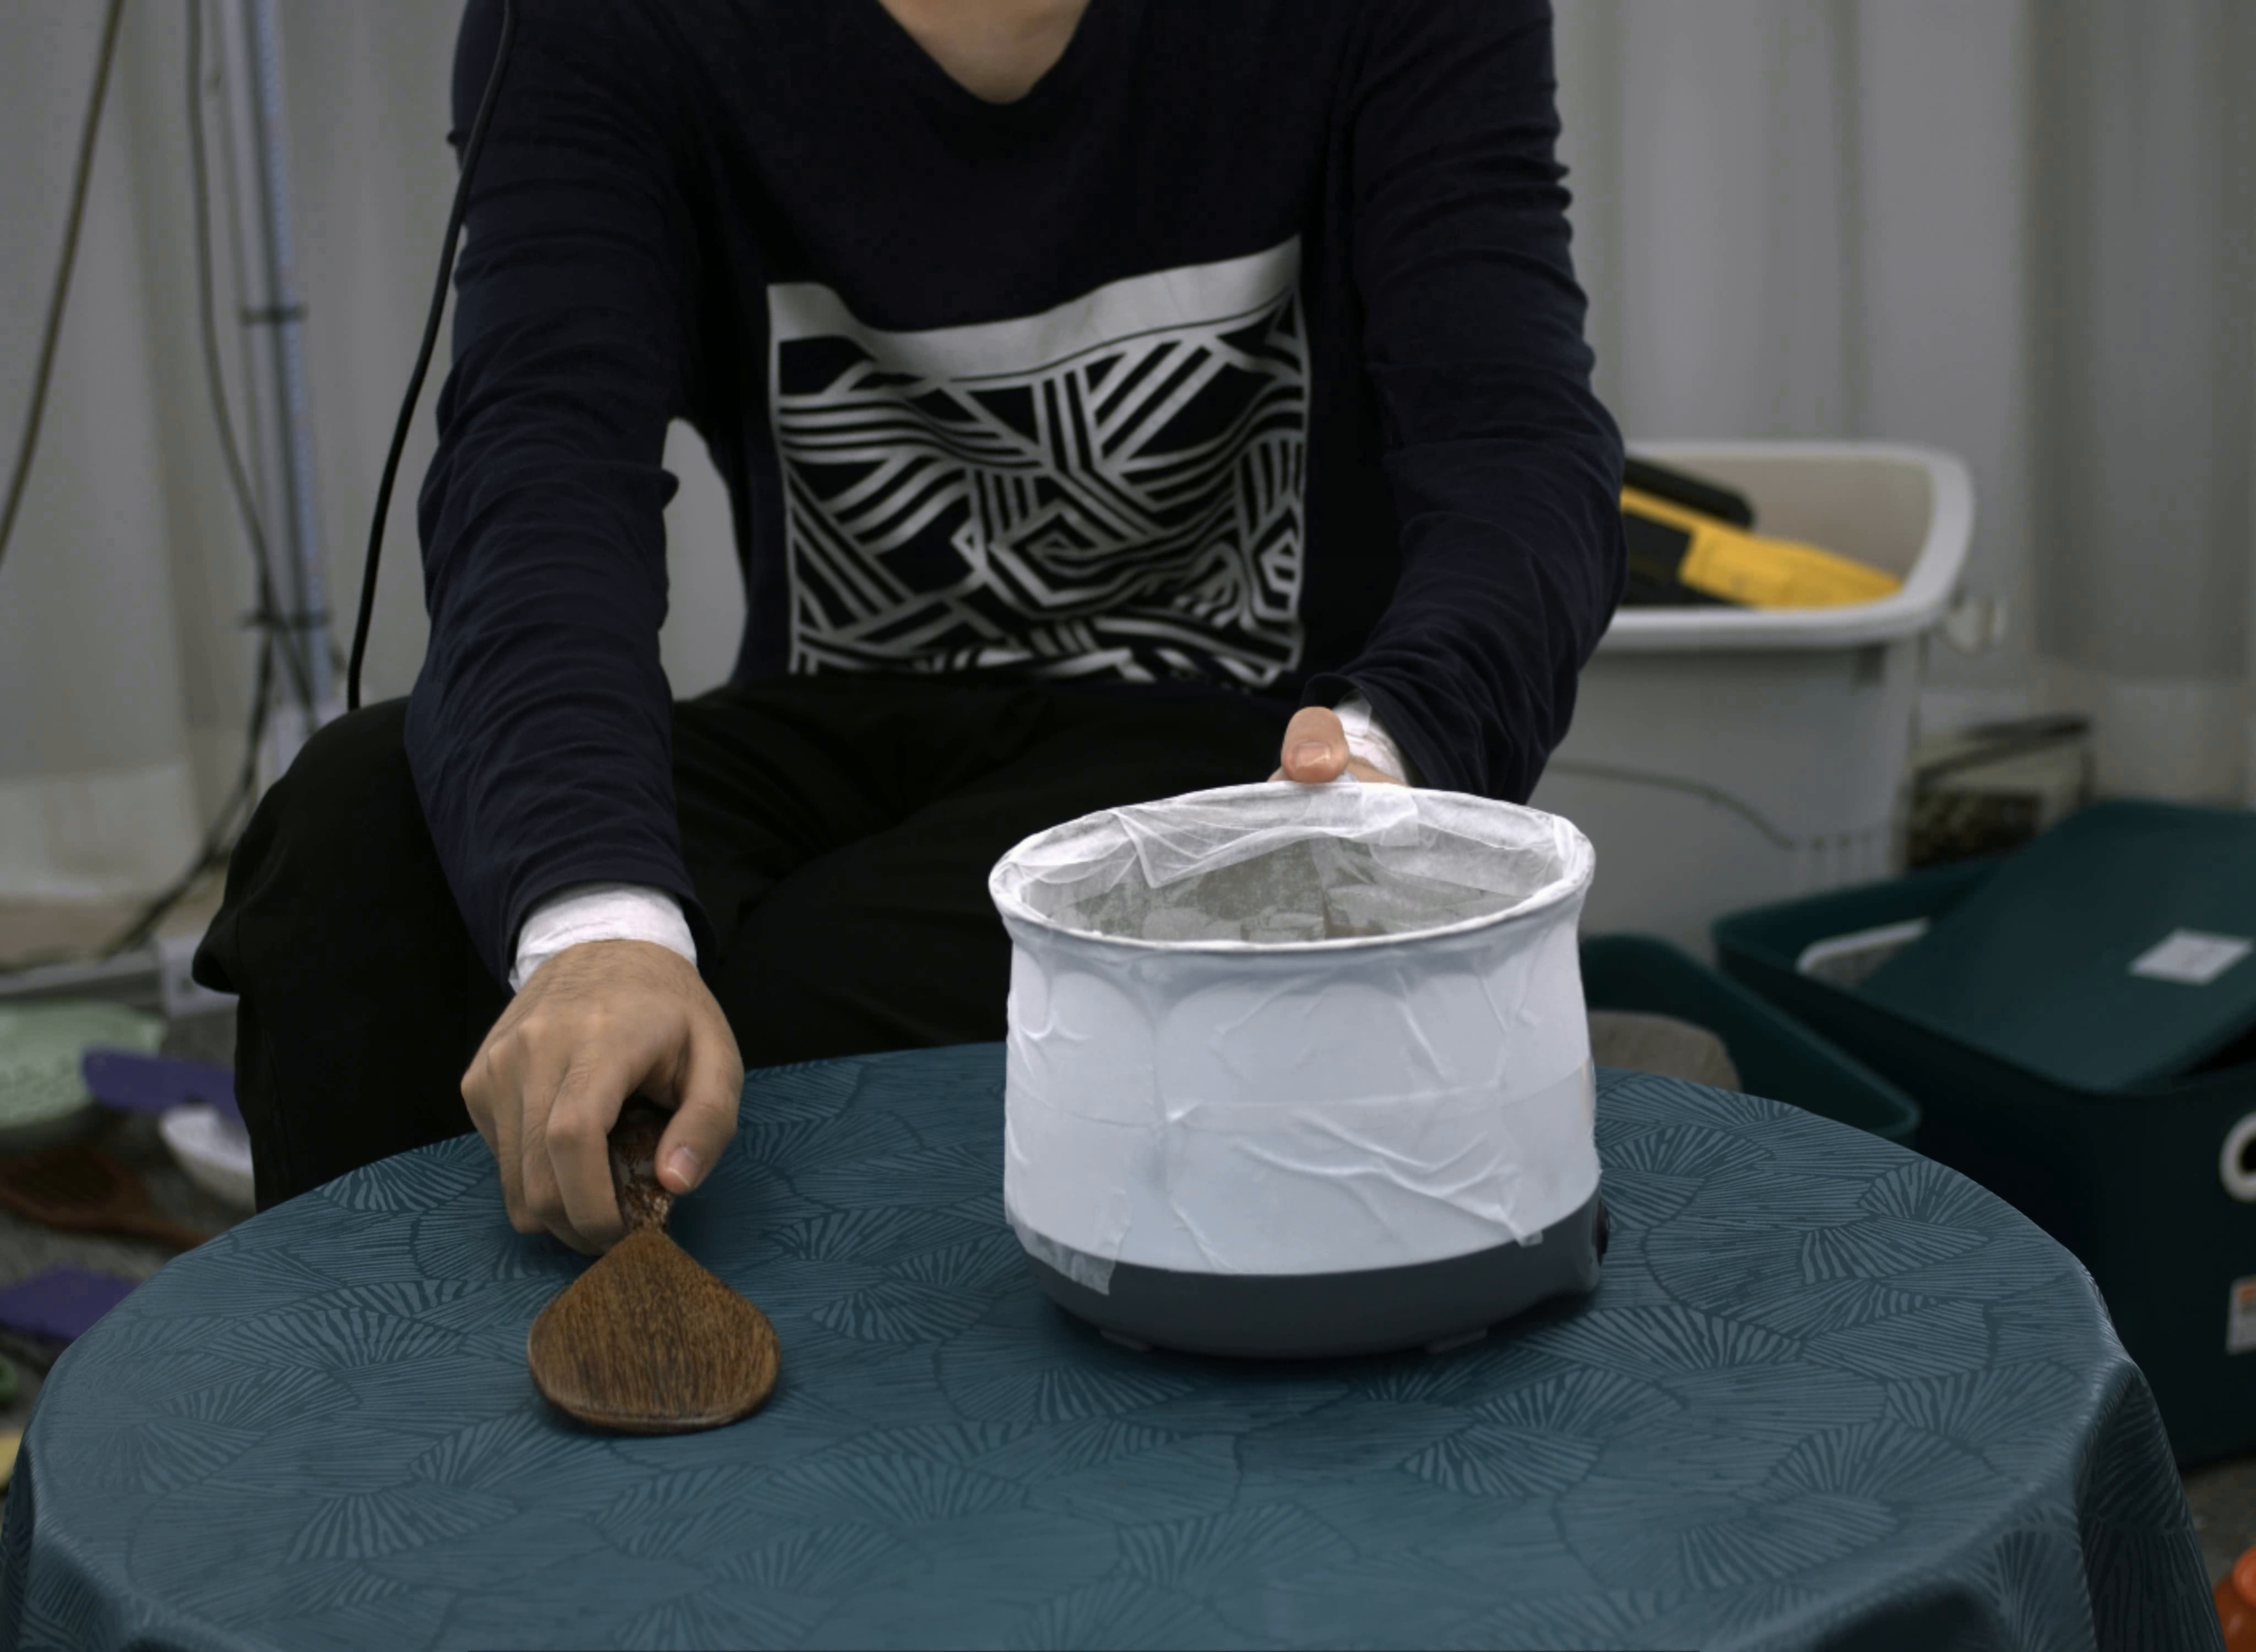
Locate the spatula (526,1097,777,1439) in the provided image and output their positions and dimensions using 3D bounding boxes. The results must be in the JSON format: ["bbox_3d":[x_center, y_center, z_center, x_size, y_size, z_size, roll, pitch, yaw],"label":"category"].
[{"bbox_3d":[-0.142,0.127,1.626,0.071,0.009,0.218,2,22,-6],"label":"spatula"}]

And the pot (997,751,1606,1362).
[{"bbox_3d":[0.053,0.063,1.631,0.178,0.136,0.235,2,16,6],"label":"pot"}]
